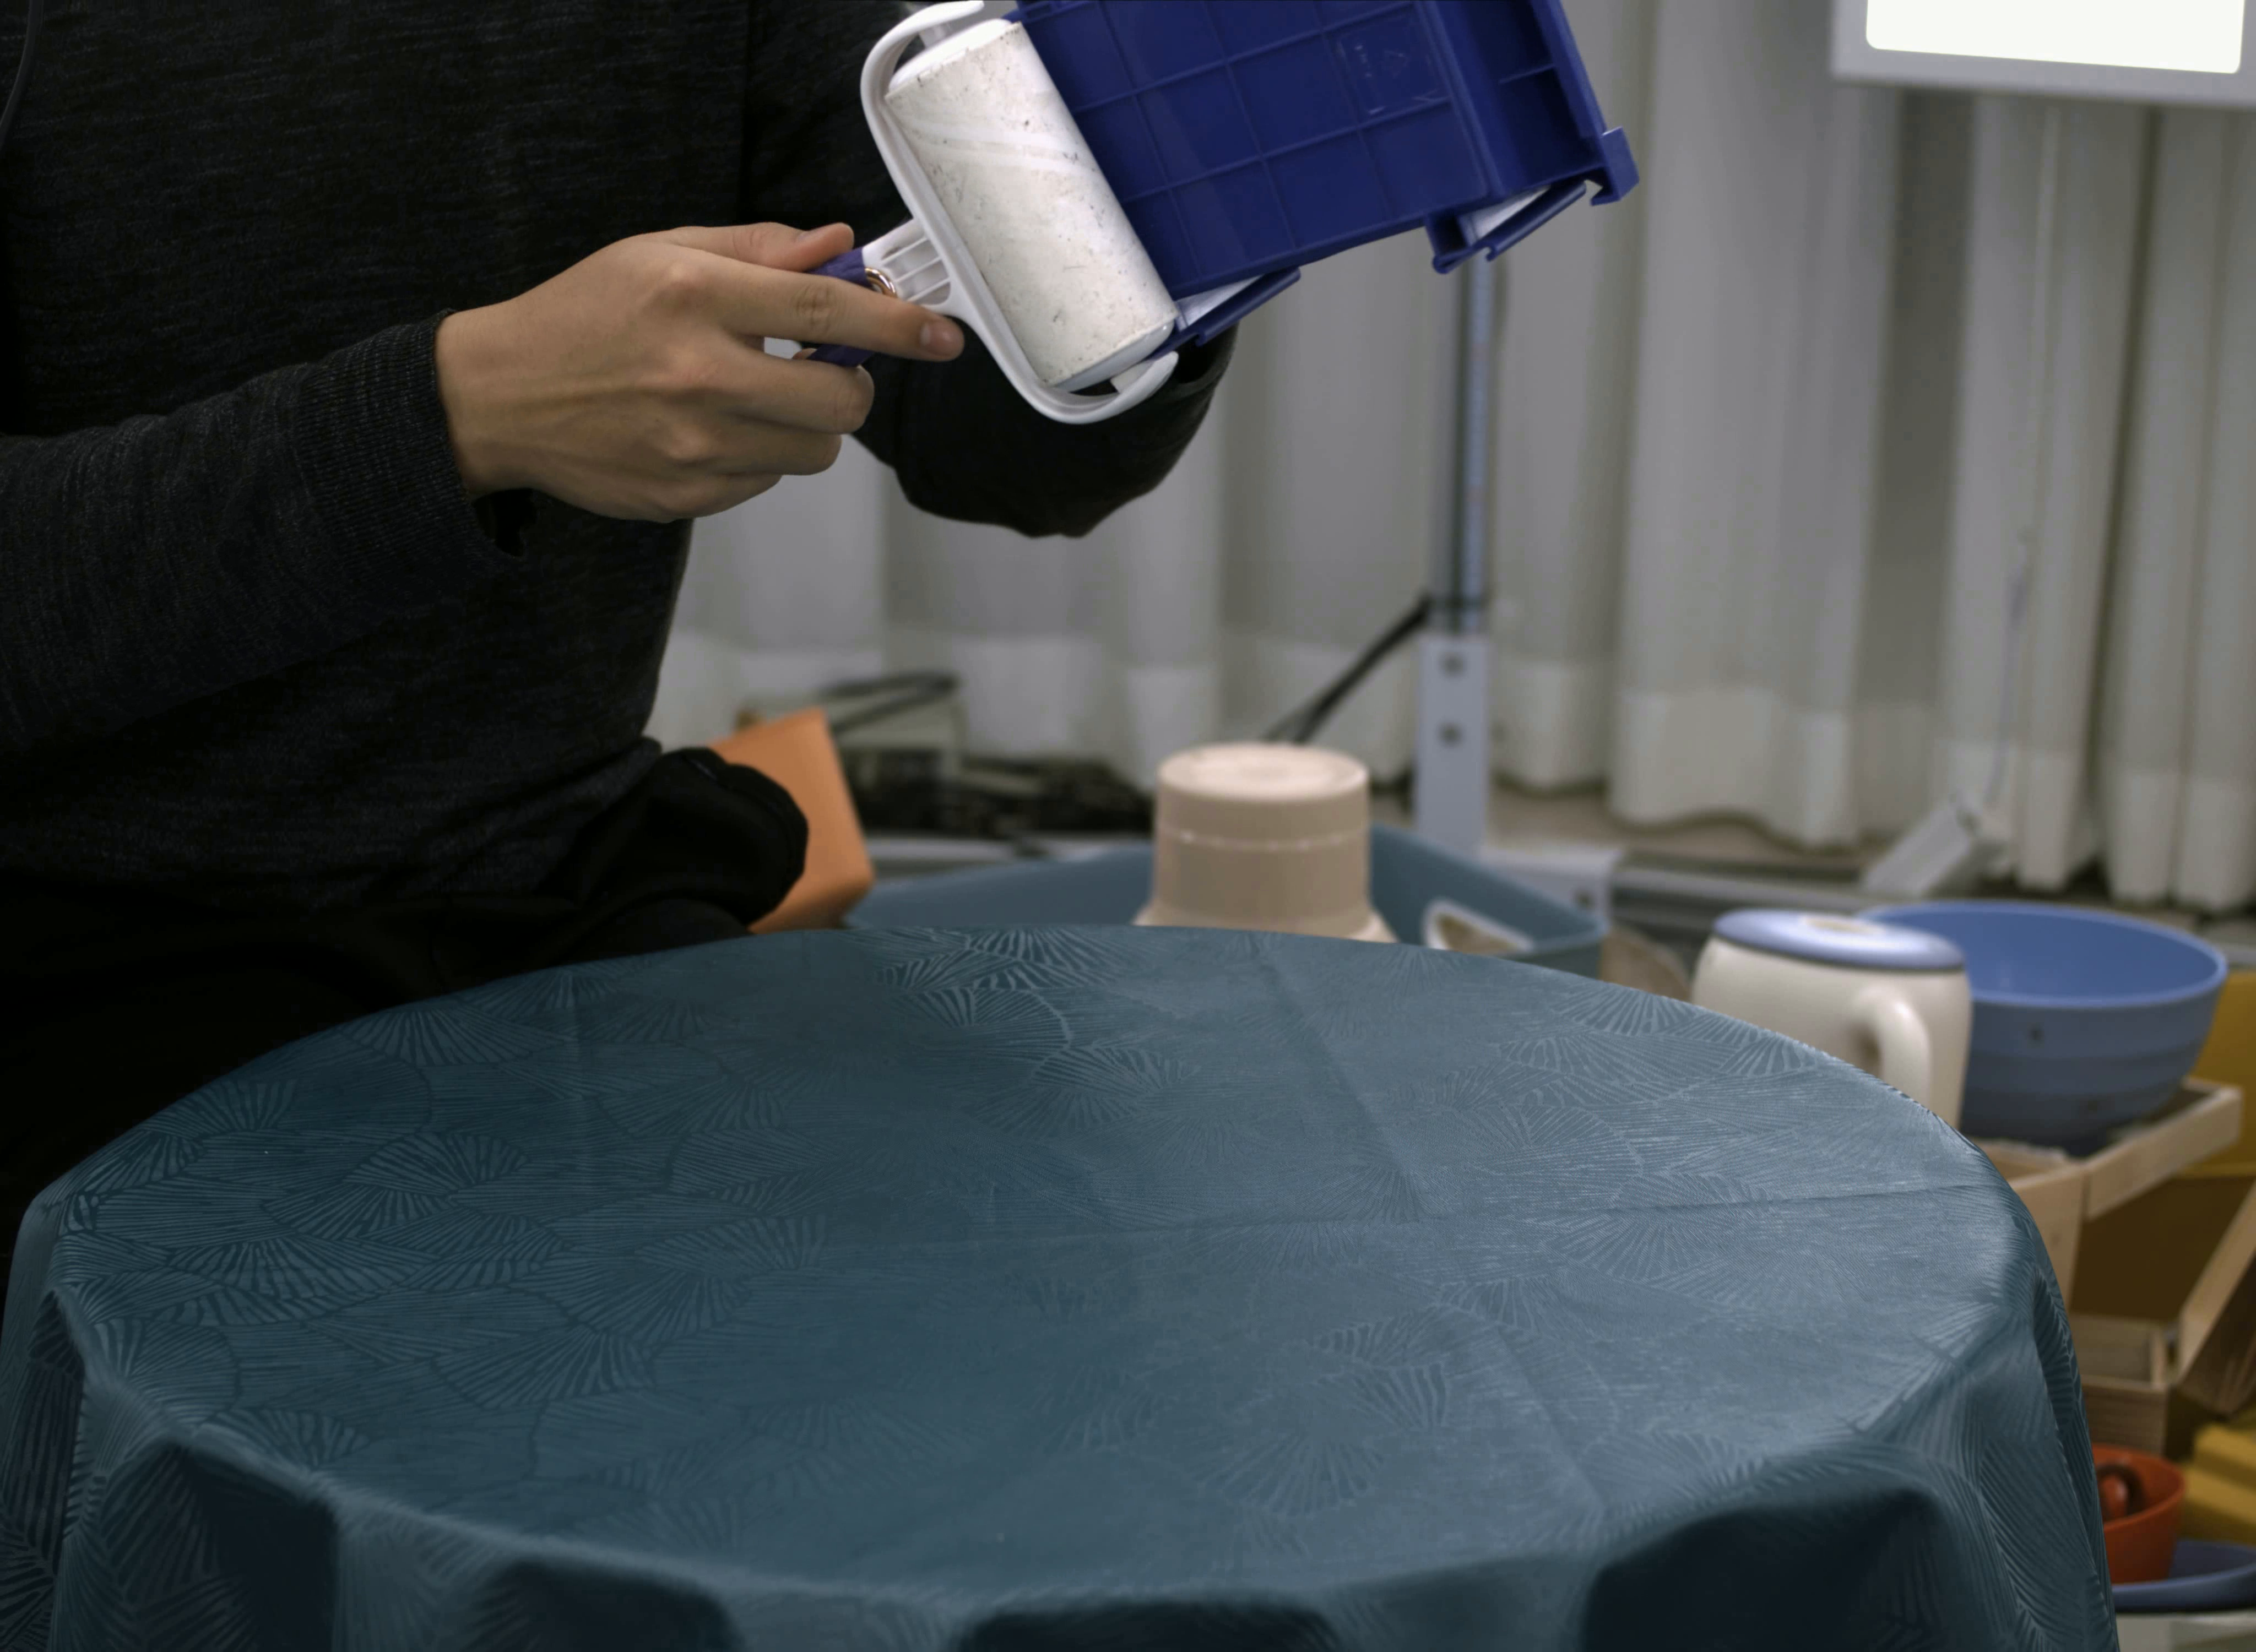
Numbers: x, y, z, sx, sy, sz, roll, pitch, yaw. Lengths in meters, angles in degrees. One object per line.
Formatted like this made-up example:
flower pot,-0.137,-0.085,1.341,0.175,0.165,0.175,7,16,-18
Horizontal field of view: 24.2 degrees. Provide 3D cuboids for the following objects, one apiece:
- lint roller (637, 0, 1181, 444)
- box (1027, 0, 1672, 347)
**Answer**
lint roller,-0.083,-0.160,1.579,0.180,0.134,0.050,-25,10,22
box,0.067,-0.228,1.558,0.178,0.125,0.082,-15,13,31
